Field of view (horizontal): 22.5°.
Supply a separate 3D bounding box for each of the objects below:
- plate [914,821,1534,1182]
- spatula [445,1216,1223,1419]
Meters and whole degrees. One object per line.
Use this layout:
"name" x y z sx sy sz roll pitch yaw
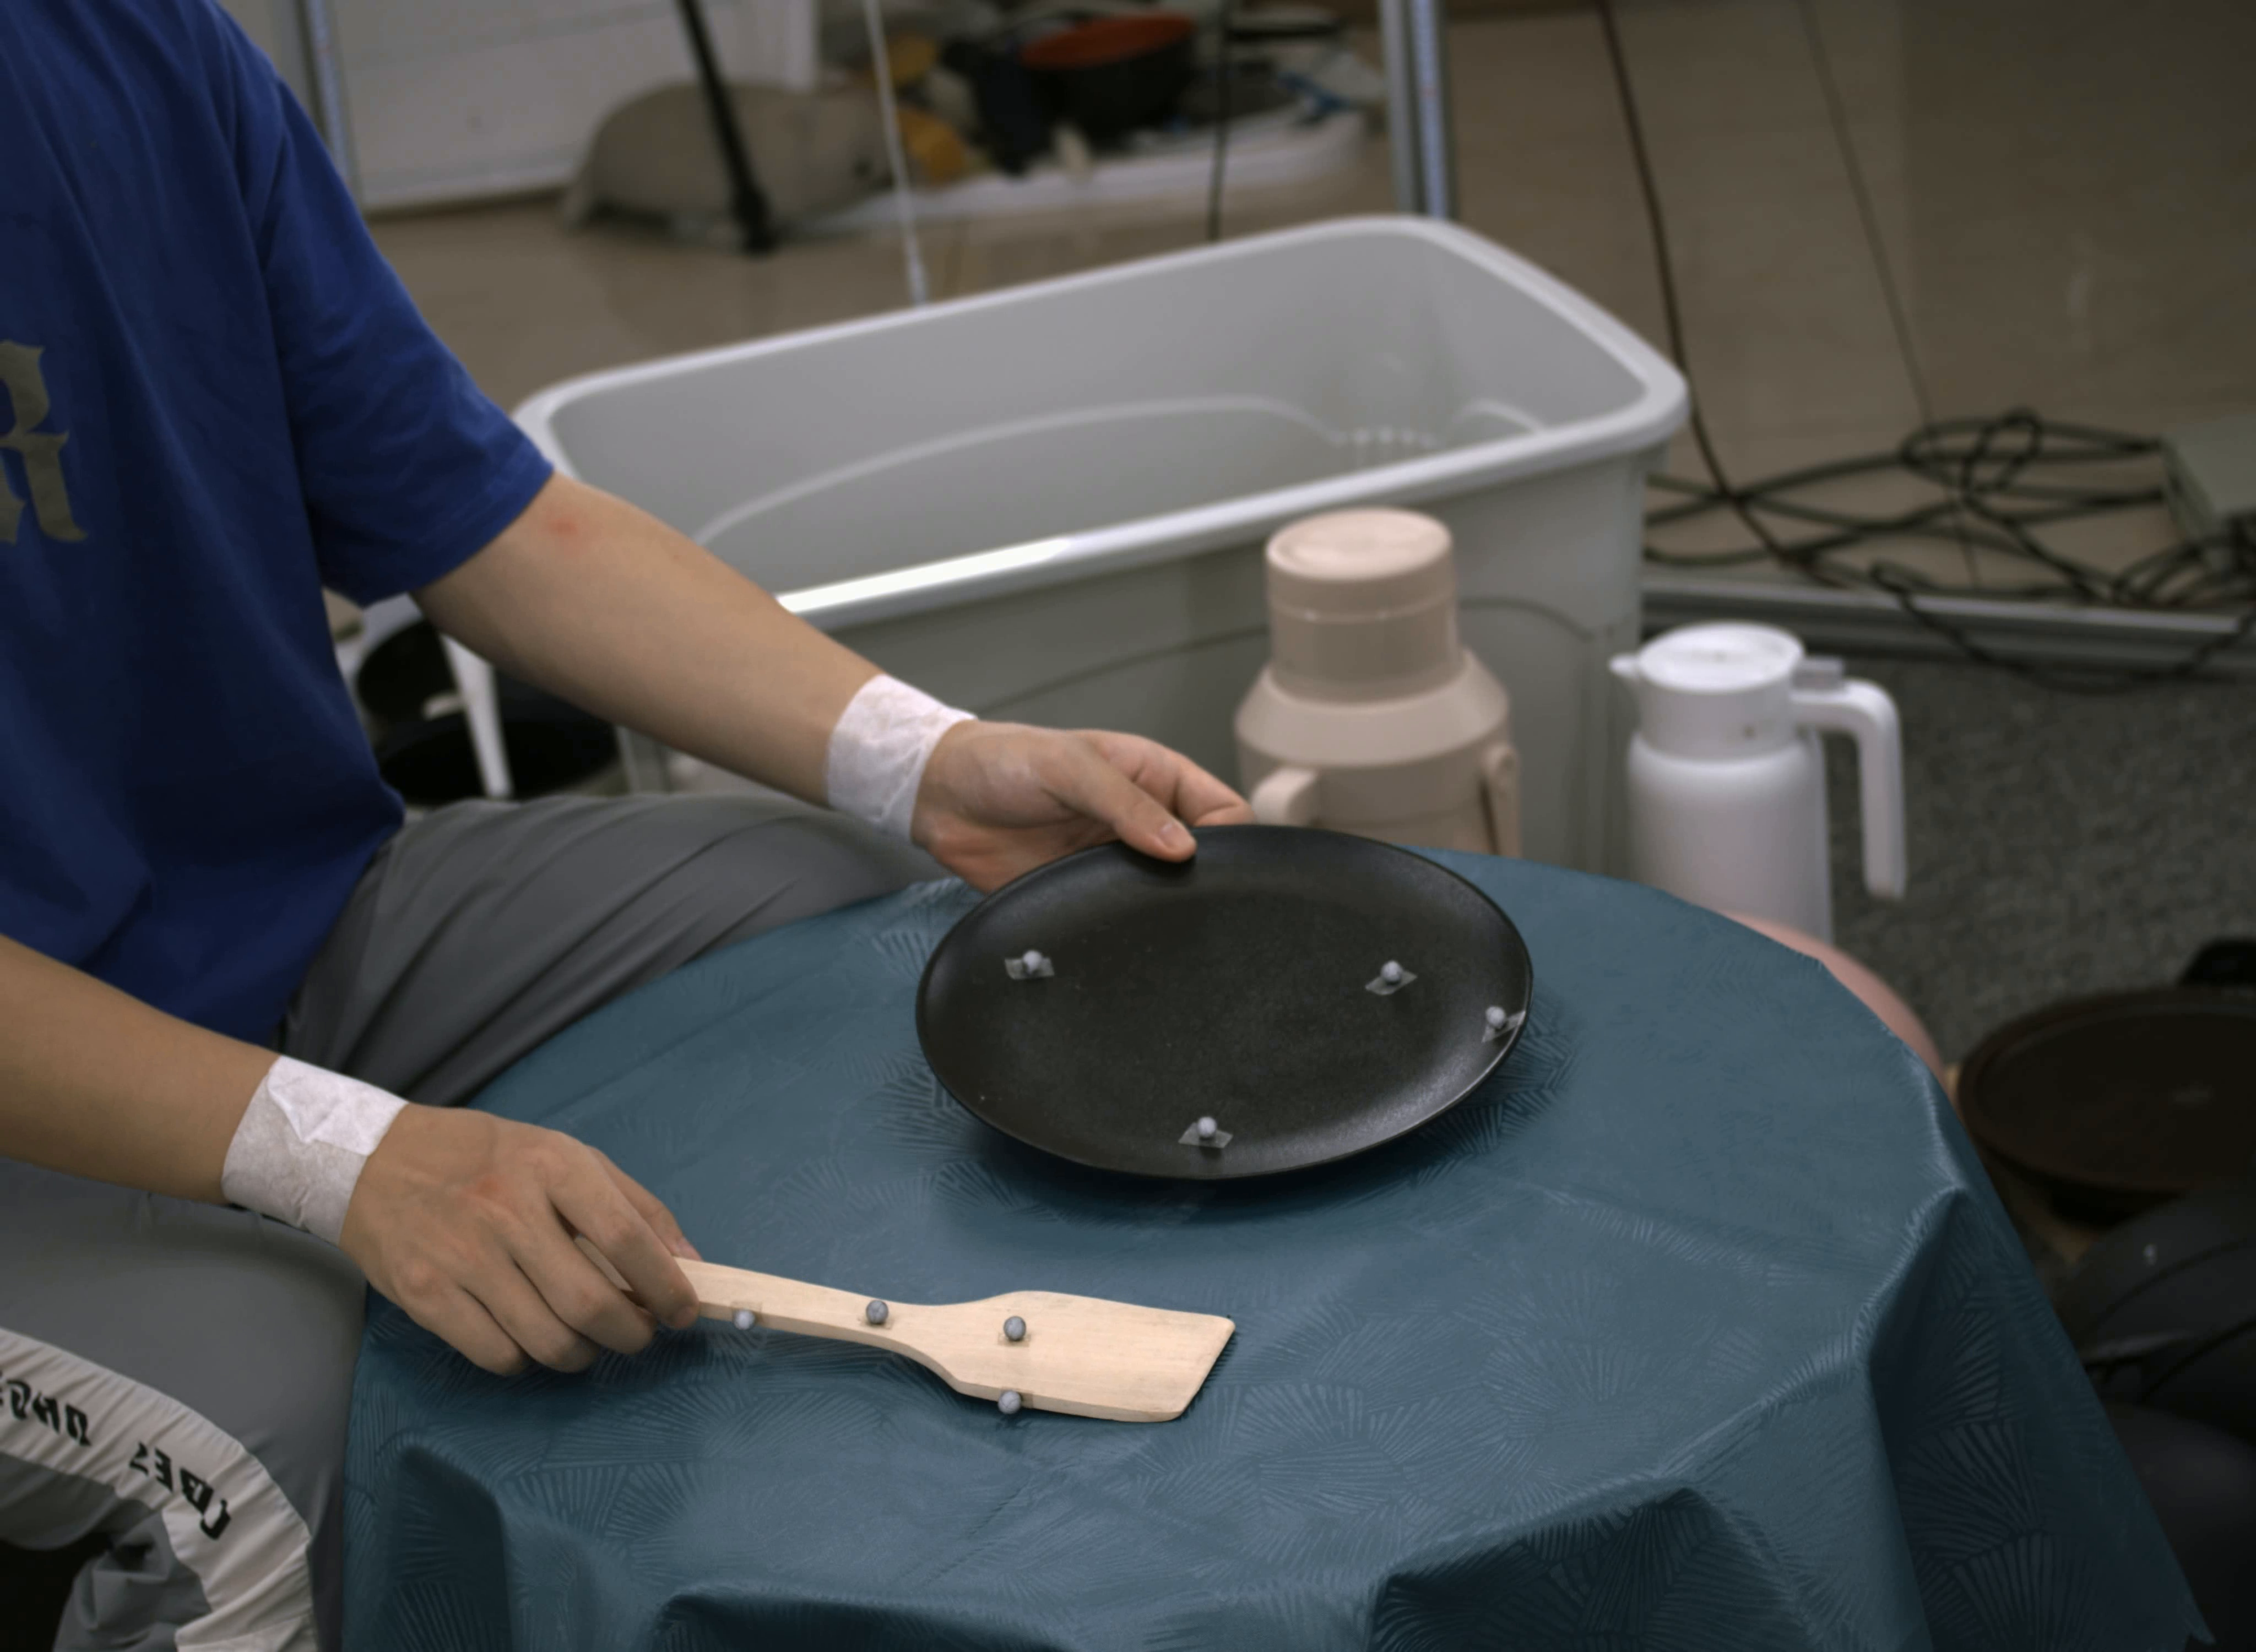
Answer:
"plate" 0.037 0.073 2.220 0.244 0.024 0.240 -3 34 2
"spatula" -0.113 0.174 2.060 0.292 0.011 0.071 9 29 16
